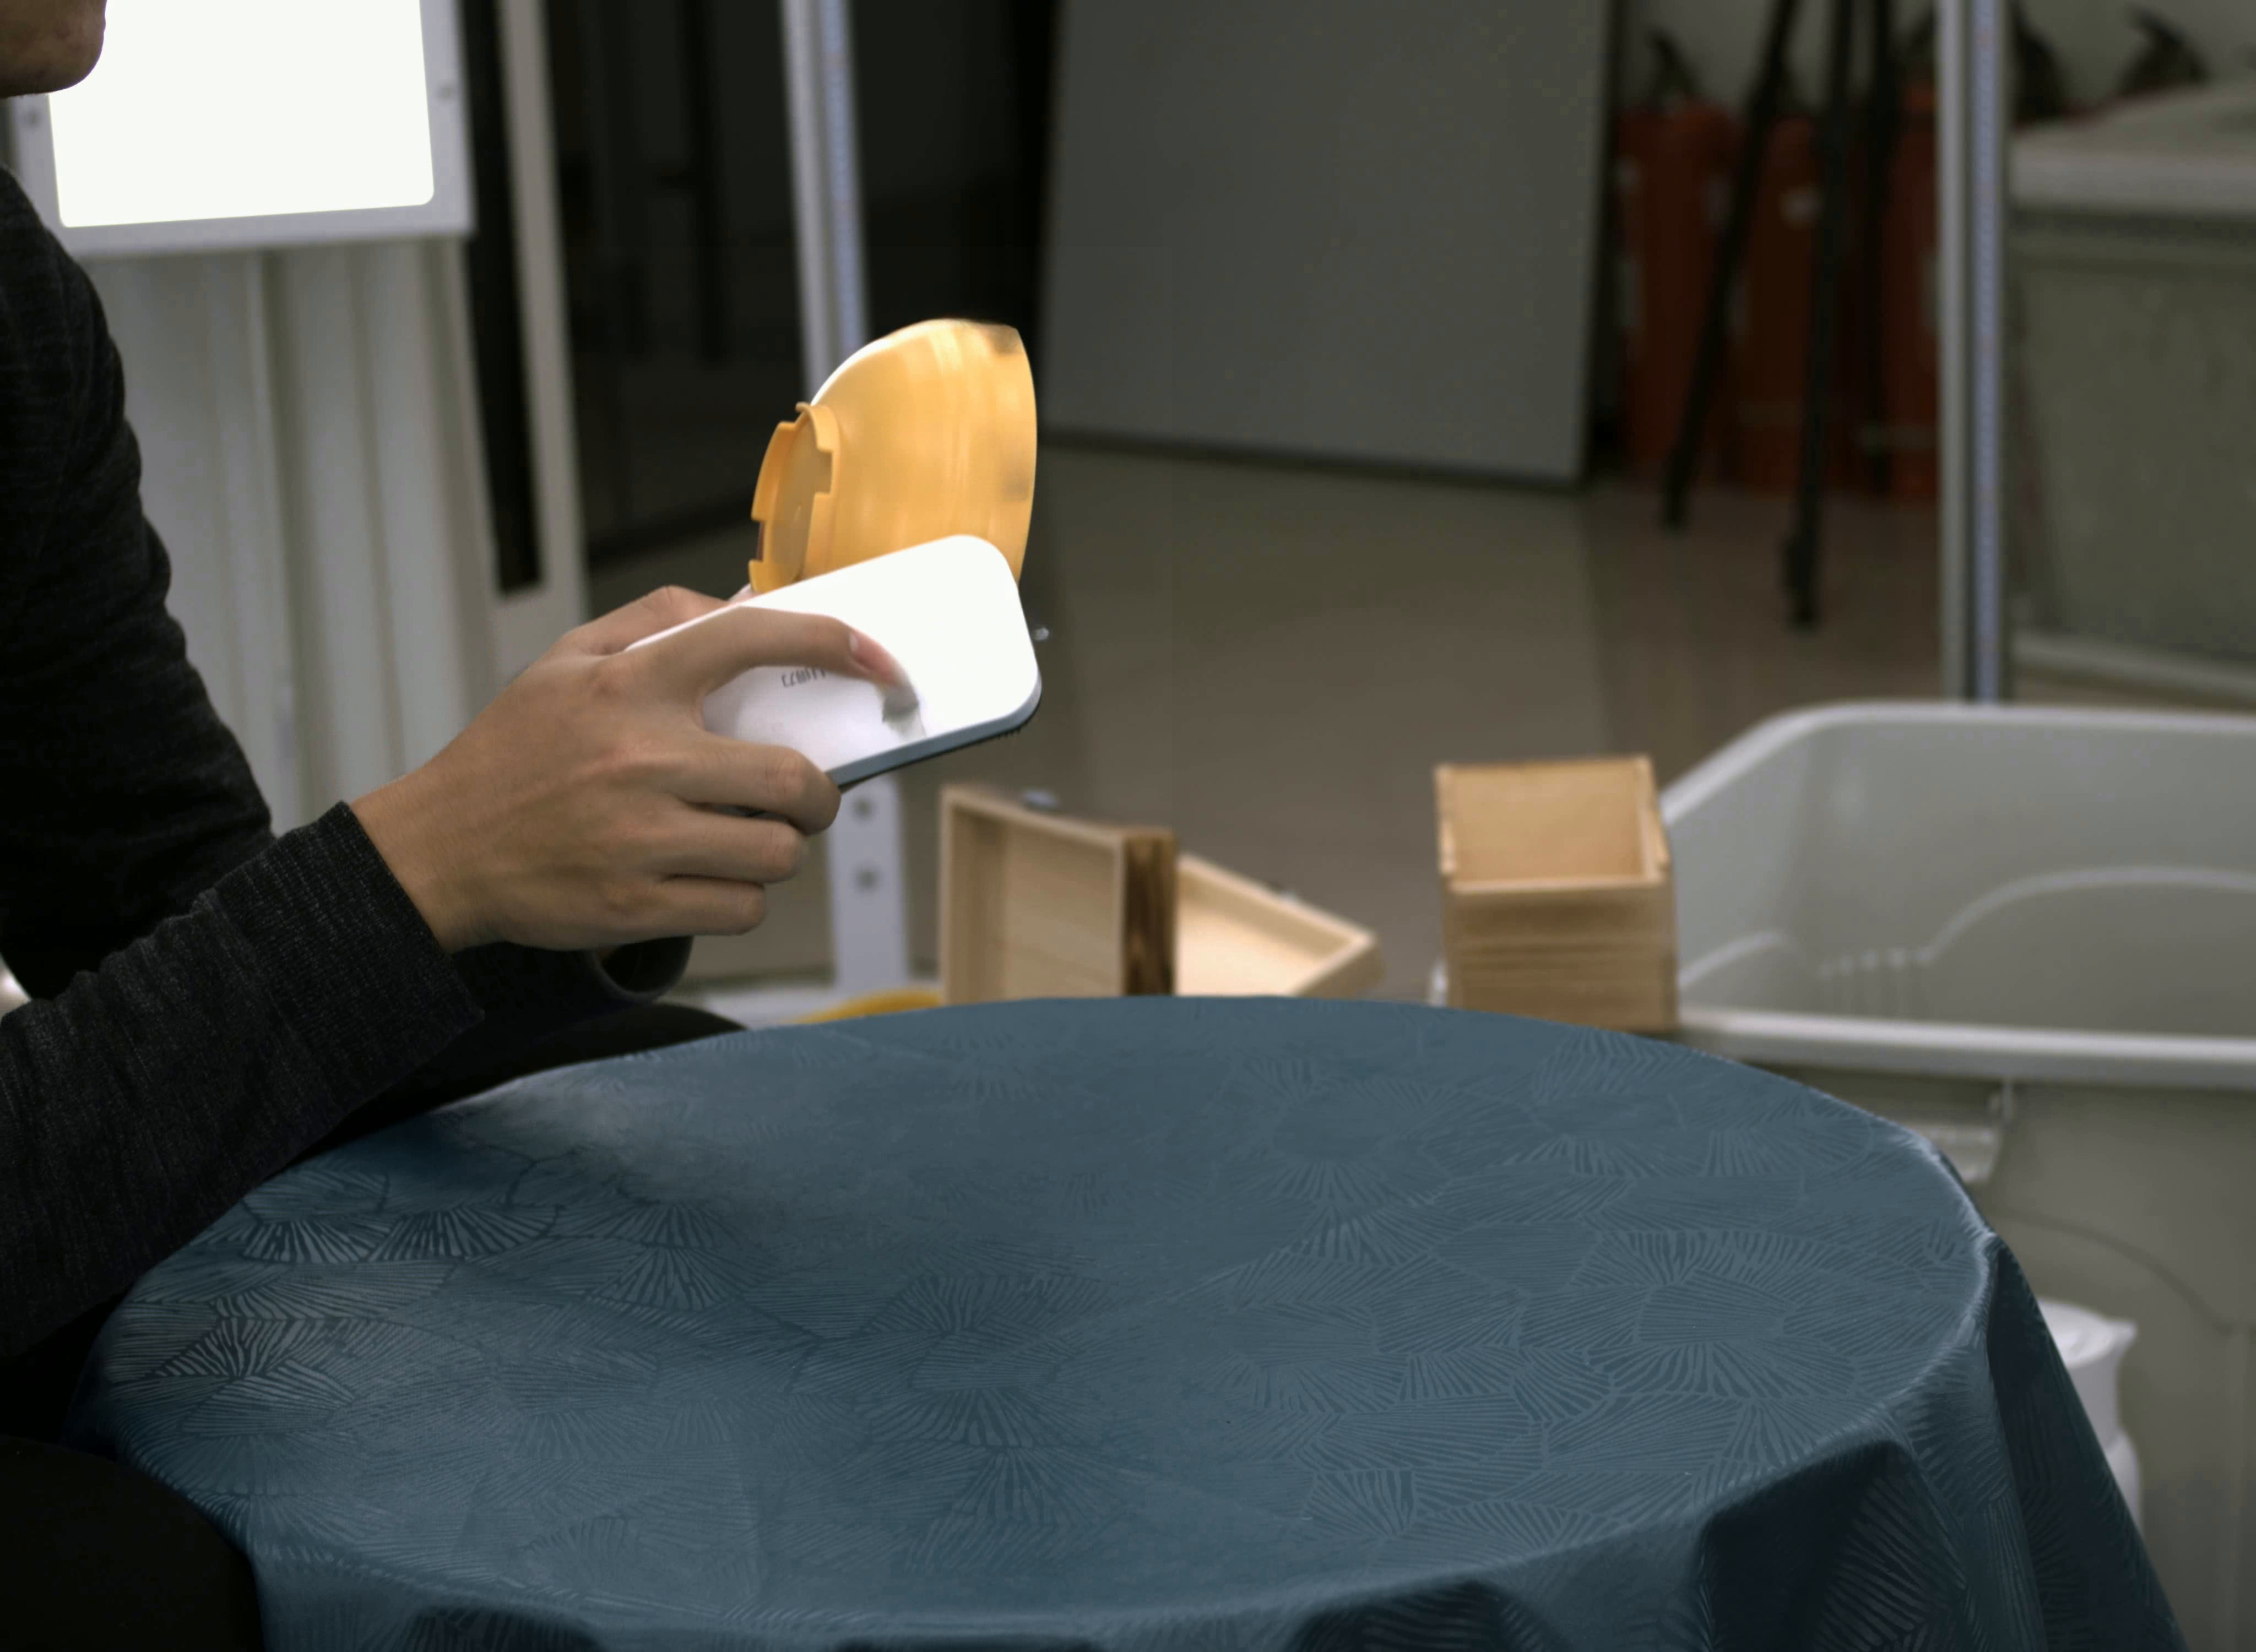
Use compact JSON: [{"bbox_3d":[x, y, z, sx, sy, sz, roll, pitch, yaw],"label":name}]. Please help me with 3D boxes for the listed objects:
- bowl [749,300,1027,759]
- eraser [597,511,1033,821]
[{"bbox_3d":[-0.082,-0.098,1.702,0.059,0.147,0.146,9,9,-19],"label":"bowl"},{"bbox_3d":[-0.094,-0.049,1.627,0.130,0.064,0.034,-19,-19,7],"label":"eraser"}]
